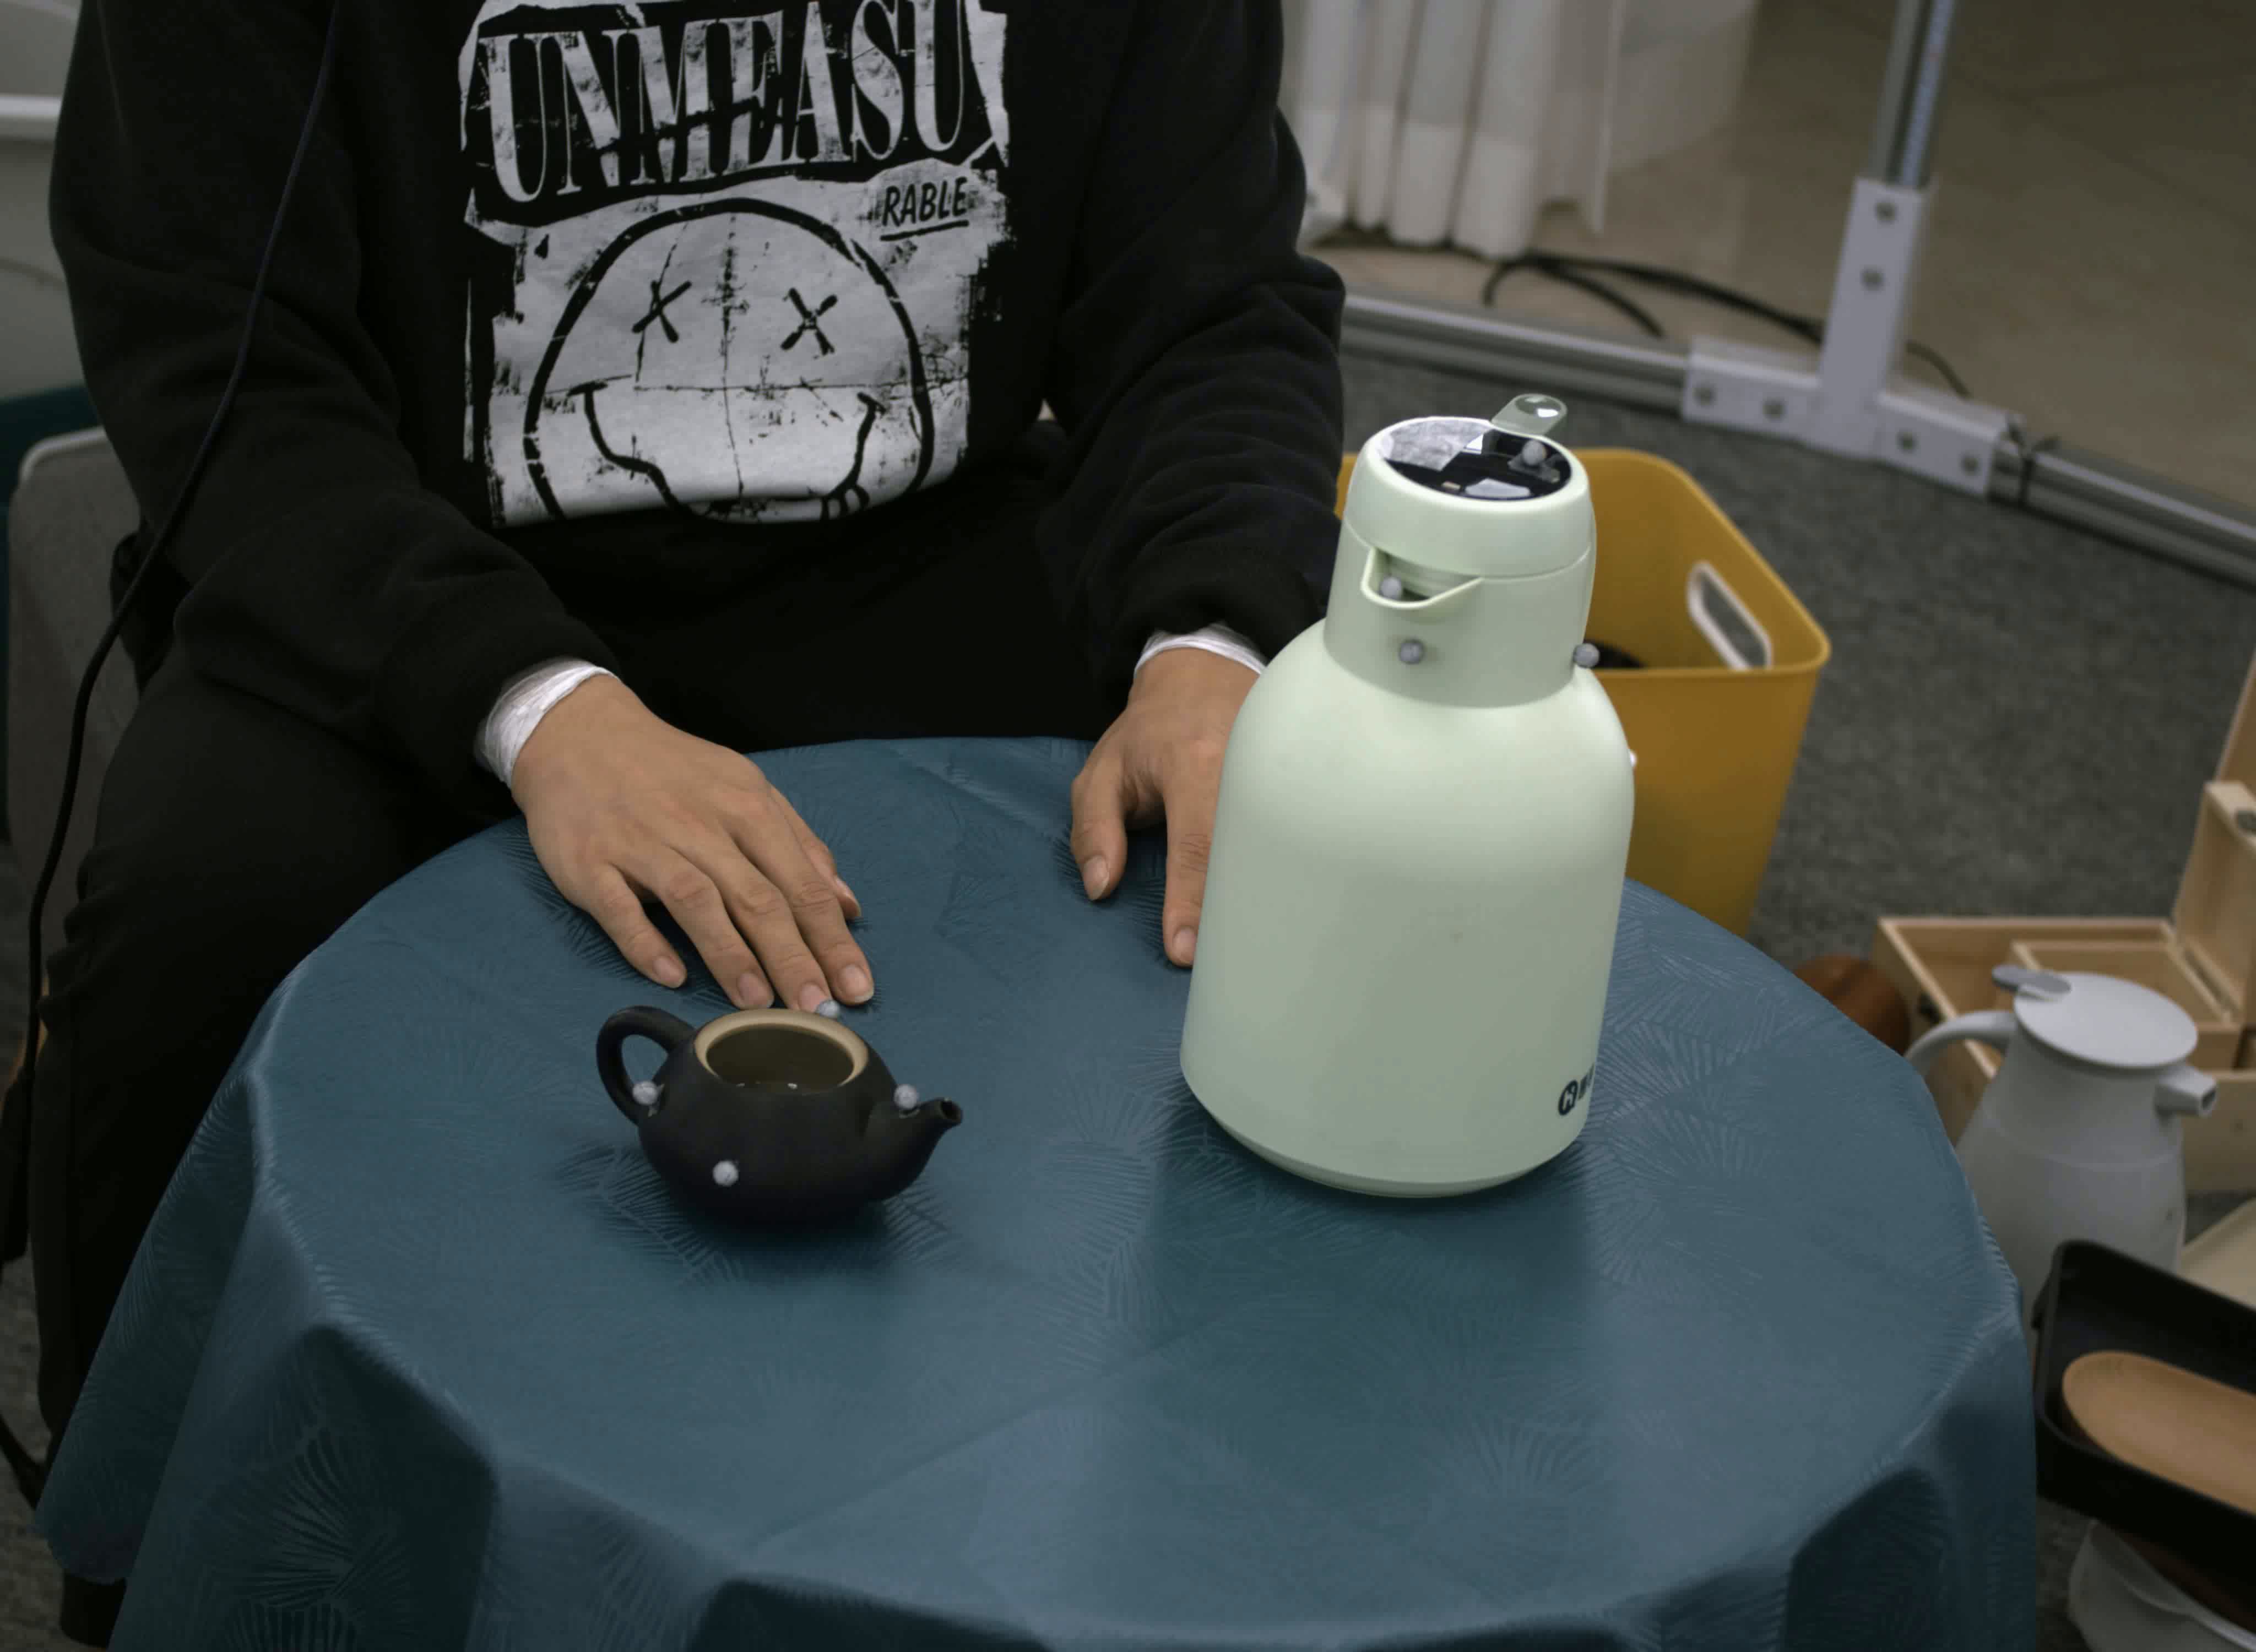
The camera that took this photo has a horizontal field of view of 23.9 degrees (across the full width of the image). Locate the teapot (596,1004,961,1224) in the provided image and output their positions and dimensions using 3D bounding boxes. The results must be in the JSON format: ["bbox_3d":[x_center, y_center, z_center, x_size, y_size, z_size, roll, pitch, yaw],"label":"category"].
[{"bbox_3d":[-0.118,0.097,1.772,0.133,0.053,0.091,17,26,18],"label":"teapot"}]

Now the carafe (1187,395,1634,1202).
[{"bbox_3d":[0.108,-0.015,1.828,0.144,0.256,0.186,15,24,20],"label":"carafe"}]
